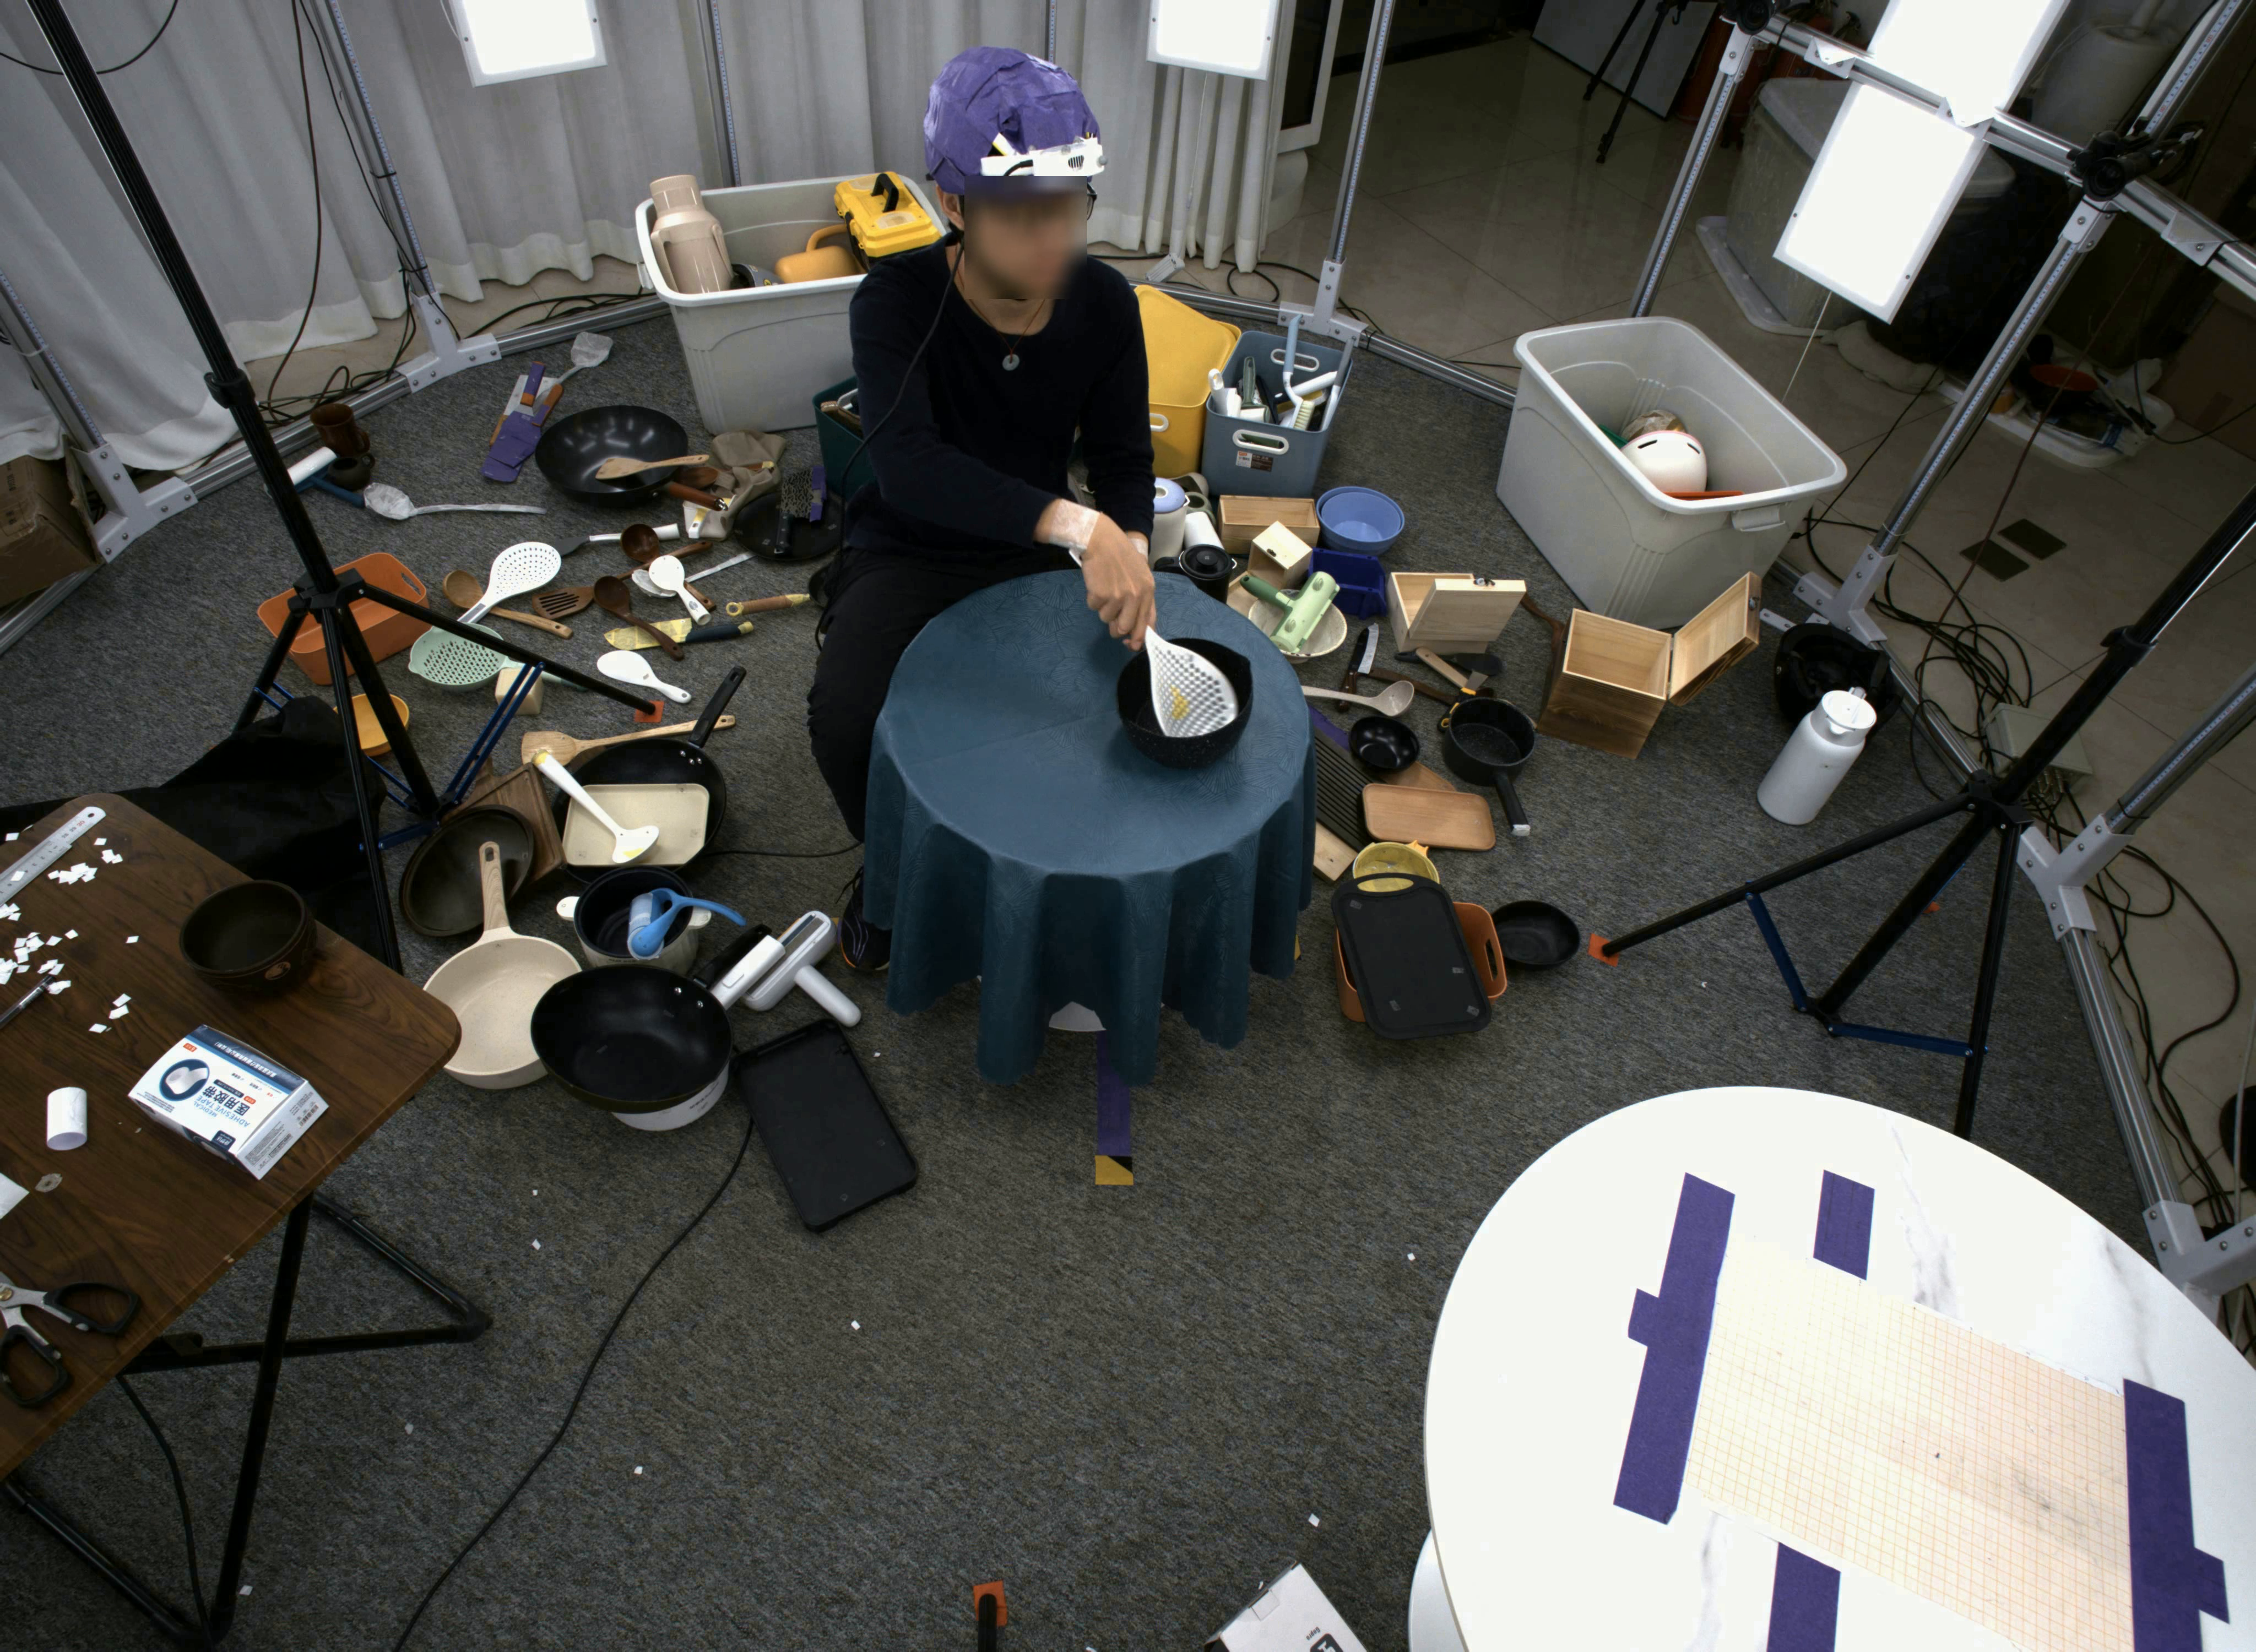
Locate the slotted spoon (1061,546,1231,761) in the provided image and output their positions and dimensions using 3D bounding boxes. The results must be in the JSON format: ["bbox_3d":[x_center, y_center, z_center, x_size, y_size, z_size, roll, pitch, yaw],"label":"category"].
[{"bbox_3d":[0.023,-0.232,1.680,0.050,0.341,0.139,5,49,46],"label":"slotted spoon"}]

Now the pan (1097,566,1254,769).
[{"bbox_3d":[0.041,-0.223,1.788,0.208,0.105,0.350,-25,54,-13],"label":"pan"}]
